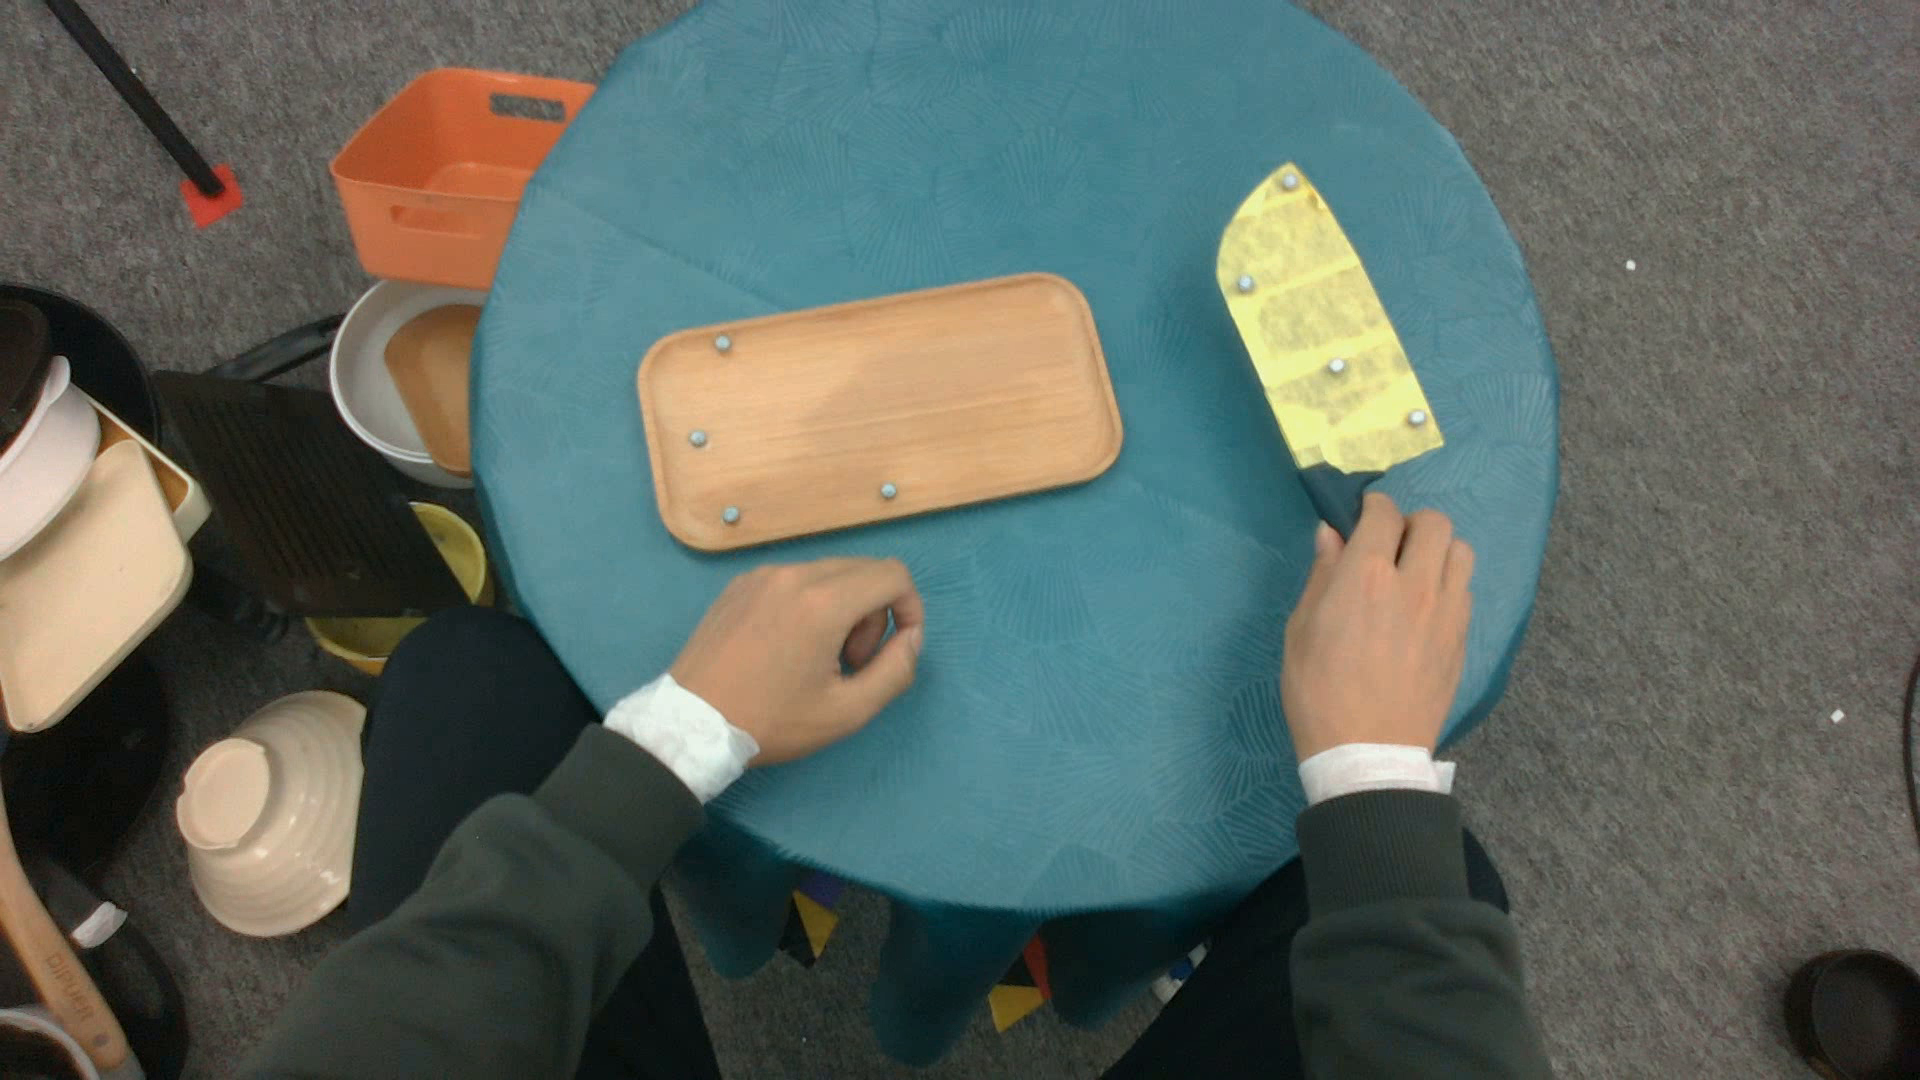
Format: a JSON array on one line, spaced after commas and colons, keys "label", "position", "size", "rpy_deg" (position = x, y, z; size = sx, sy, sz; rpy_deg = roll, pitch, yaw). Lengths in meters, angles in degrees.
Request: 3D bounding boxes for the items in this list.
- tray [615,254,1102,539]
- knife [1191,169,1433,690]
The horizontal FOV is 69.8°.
[{"label": "tray", "position": [-0.054, -0.080, 0.742], "size": [0.251, 0.023, 0.131], "rpy_deg": [-11, 75, -10]}, {"label": "knife", "position": [0.192, -0.065, 0.712], "size": [0.081, 0.027, 0.290], "rpy_deg": [-18, 77, 3]}]
